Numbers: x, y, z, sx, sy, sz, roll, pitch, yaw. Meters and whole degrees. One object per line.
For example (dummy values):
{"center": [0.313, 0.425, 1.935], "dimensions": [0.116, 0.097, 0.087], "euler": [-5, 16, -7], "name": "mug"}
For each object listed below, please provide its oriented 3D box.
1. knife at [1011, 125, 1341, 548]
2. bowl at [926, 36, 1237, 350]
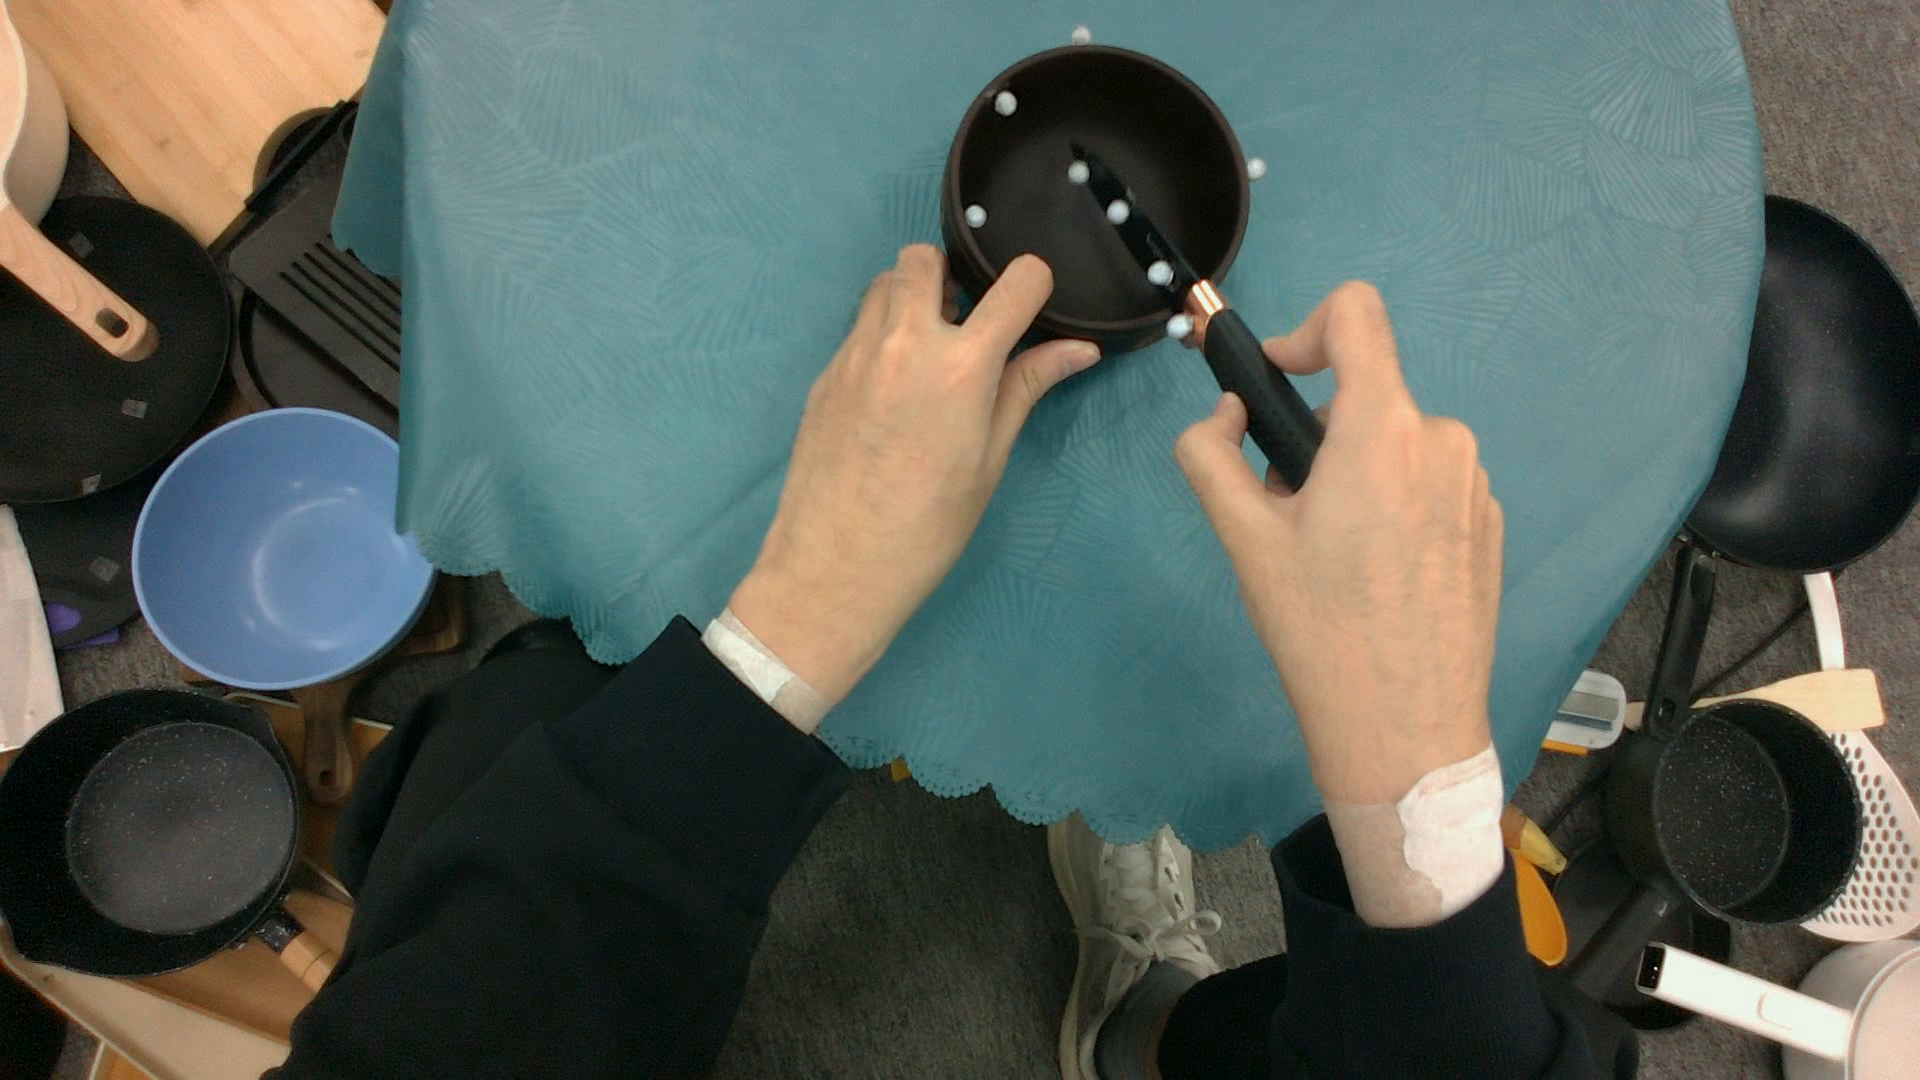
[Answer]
{"center": [0.069, -0.083, 0.483], "dimensions": [0.026, 0.017, 0.226], "euler": [-22, 55, -6], "name": "knife"}
{"center": [0.044, -0.131, 0.548], "dimensions": [0.118, 0.070, 0.118], "euler": [1, 81, -6], "name": "bowl"}
